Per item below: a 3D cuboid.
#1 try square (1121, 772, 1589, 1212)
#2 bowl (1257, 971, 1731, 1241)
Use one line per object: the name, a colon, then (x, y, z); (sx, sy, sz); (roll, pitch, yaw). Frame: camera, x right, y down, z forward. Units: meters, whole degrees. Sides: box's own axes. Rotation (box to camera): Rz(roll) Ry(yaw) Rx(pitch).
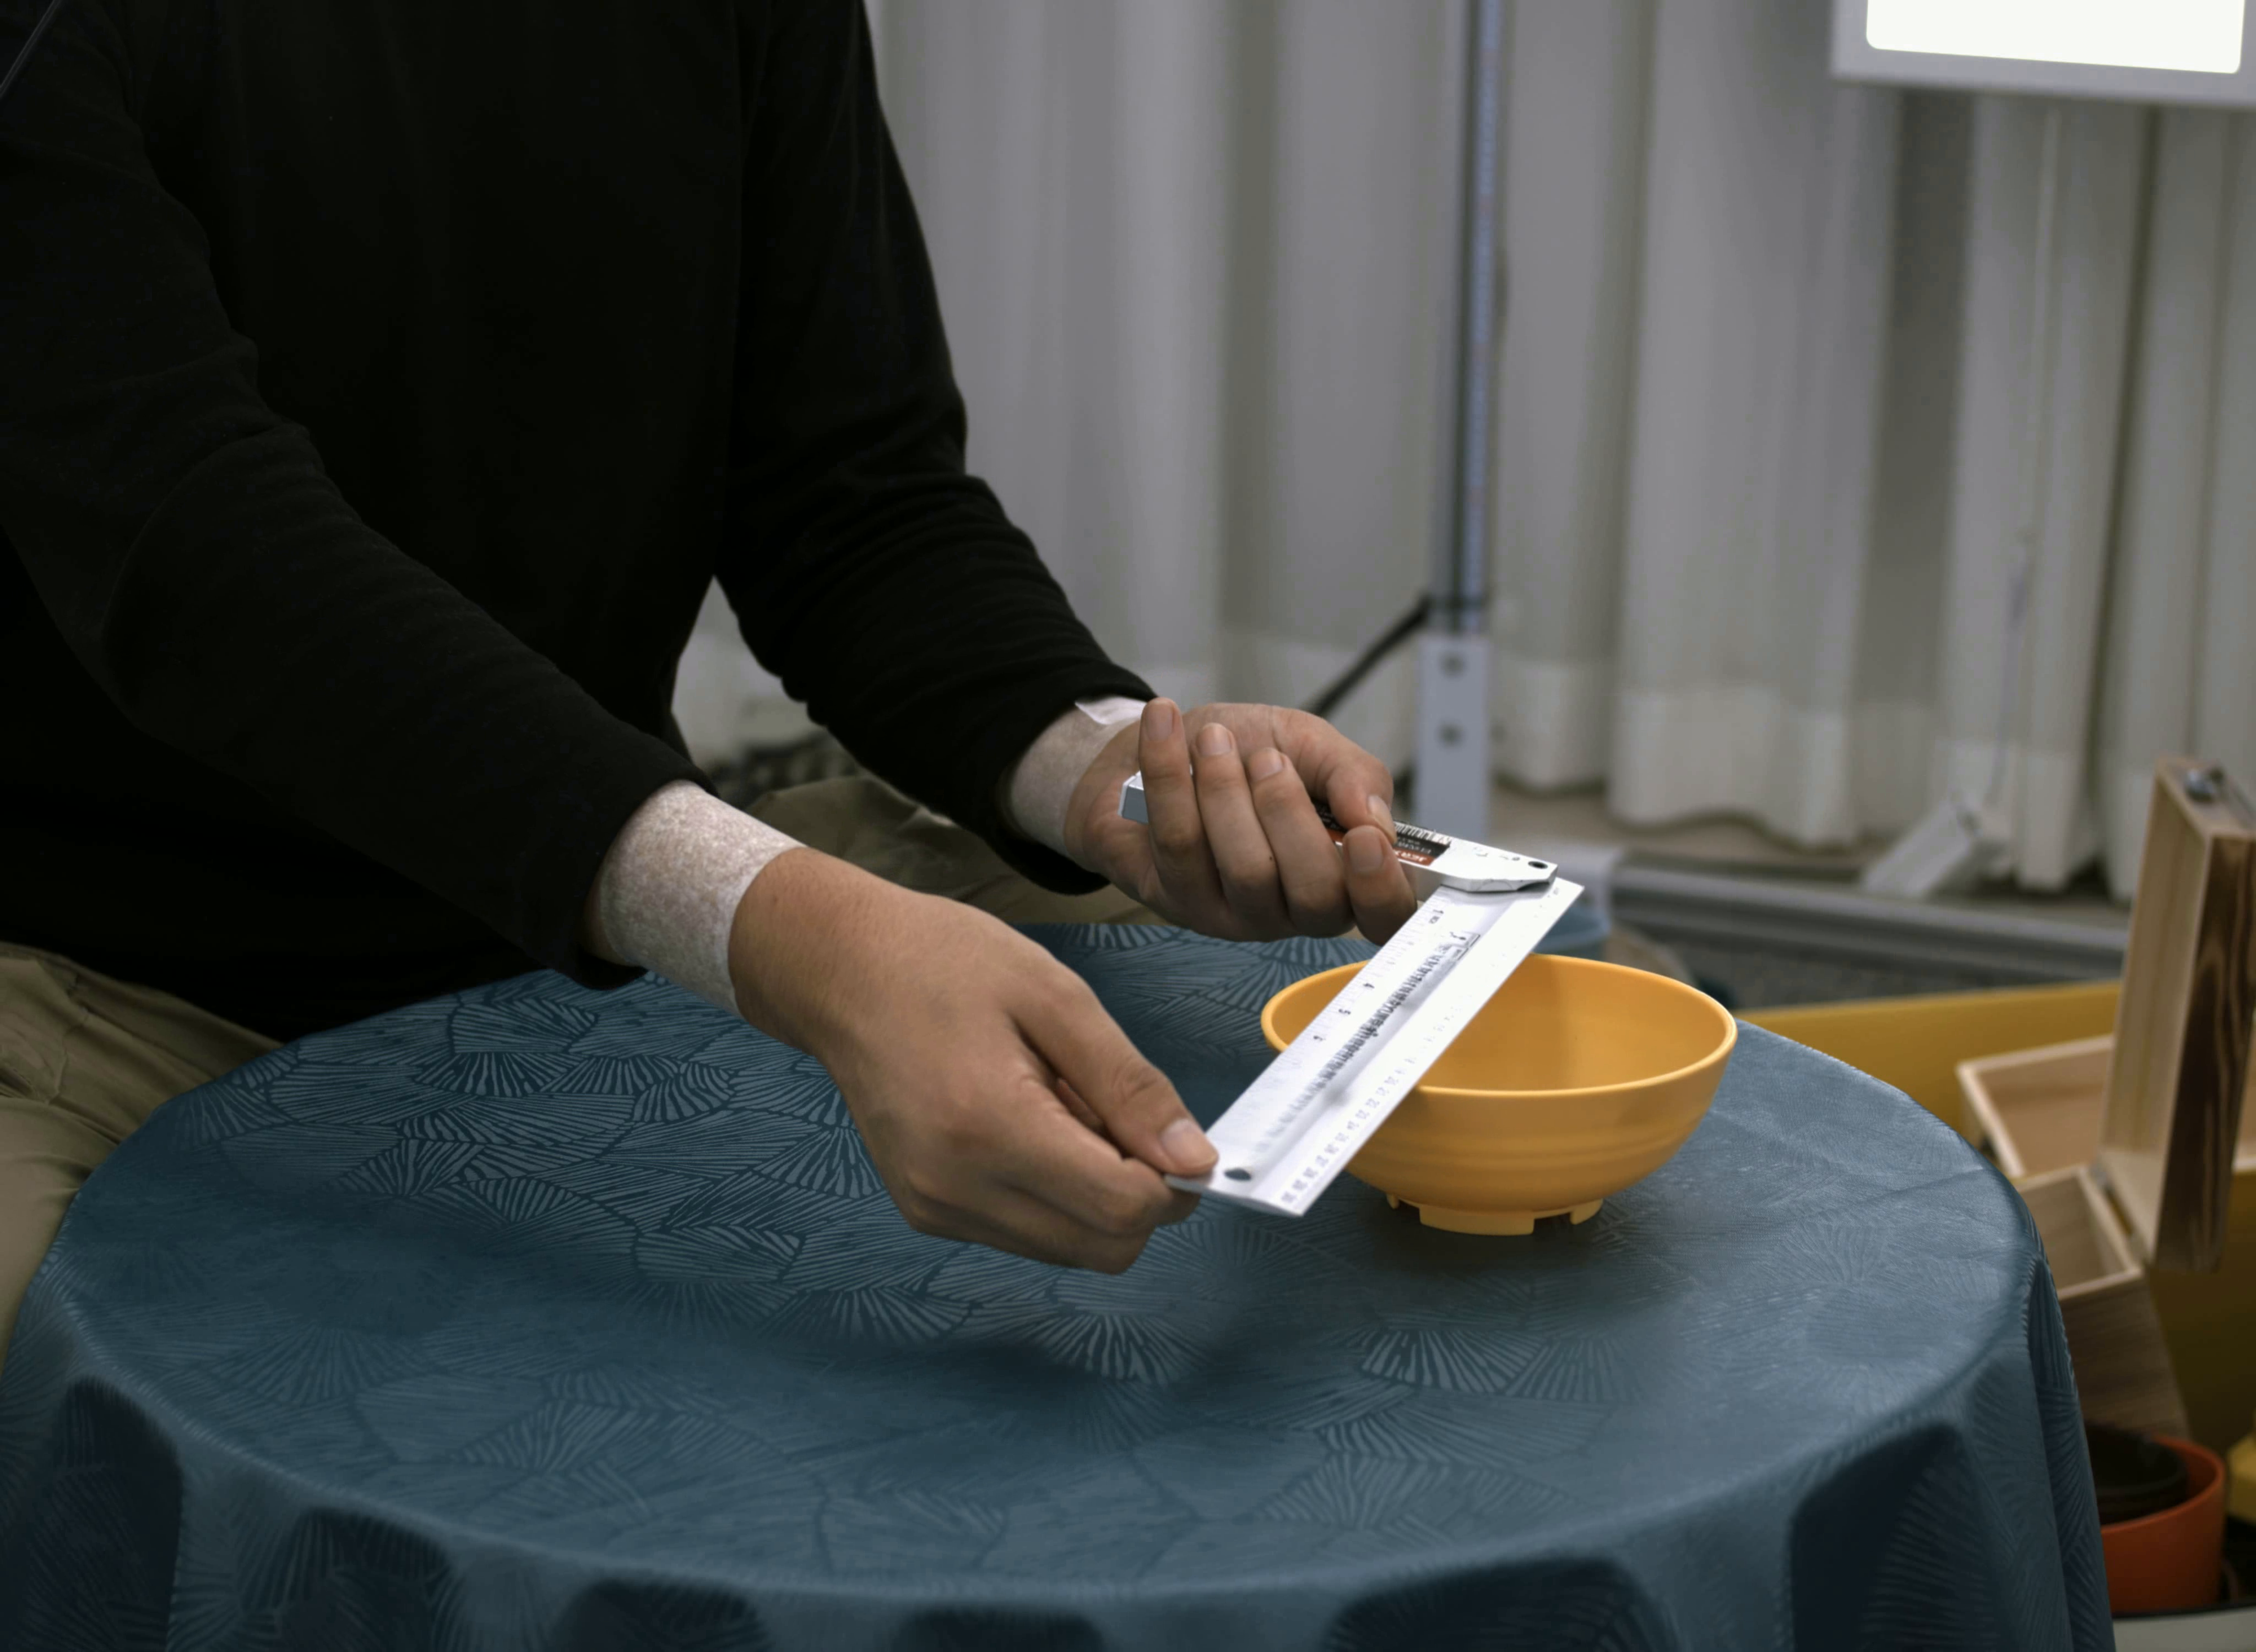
try square: (0.030, 0.045, 1.590); (0.151, 0.016, 0.313); (13, 20, 16)
bowl: (0.111, 0.089, 1.607); (0.145, 0.060, 0.144); (1, 13, 0)
